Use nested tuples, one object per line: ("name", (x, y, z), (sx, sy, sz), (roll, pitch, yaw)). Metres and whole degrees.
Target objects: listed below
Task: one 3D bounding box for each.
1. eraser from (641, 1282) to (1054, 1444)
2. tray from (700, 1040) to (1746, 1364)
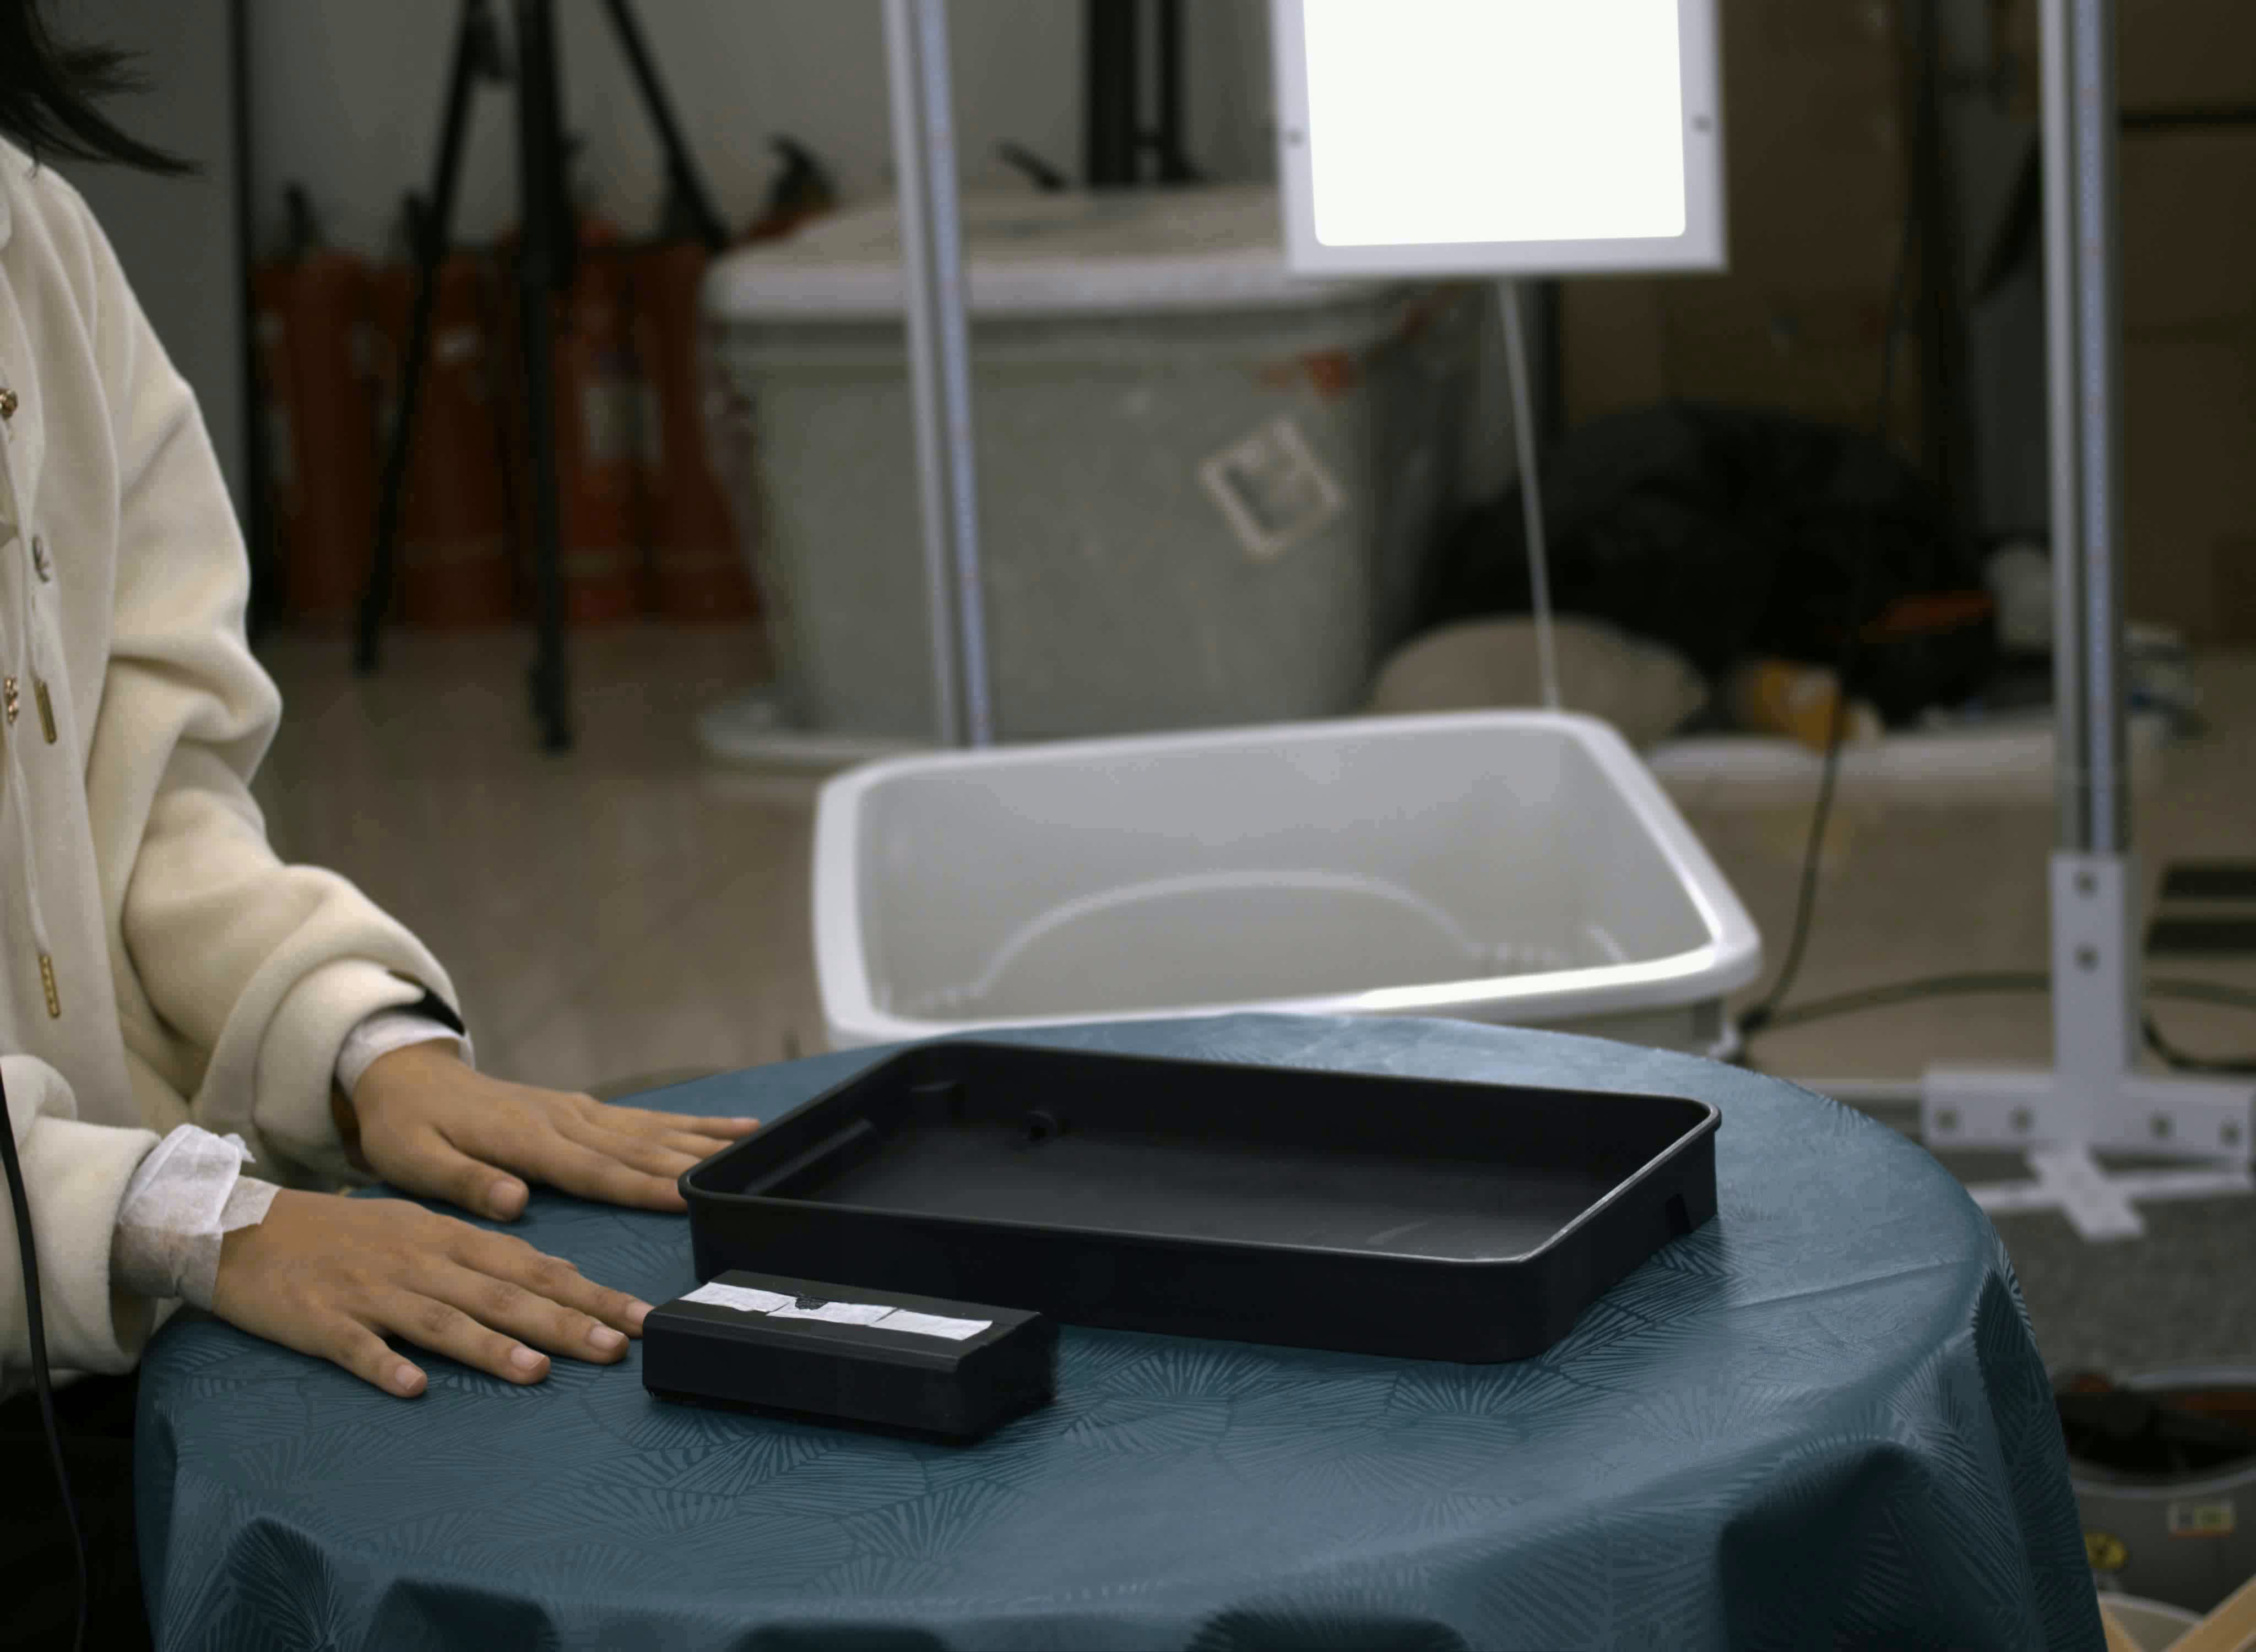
("eraser", (-0.086, 0.166, 1.712), (0.128, 0.030, 0.052), (4, 13, 34))
("tray", (0.033, 0.121, 1.828), (0.323, 0.037, 0.180), (2, 16, 27))
